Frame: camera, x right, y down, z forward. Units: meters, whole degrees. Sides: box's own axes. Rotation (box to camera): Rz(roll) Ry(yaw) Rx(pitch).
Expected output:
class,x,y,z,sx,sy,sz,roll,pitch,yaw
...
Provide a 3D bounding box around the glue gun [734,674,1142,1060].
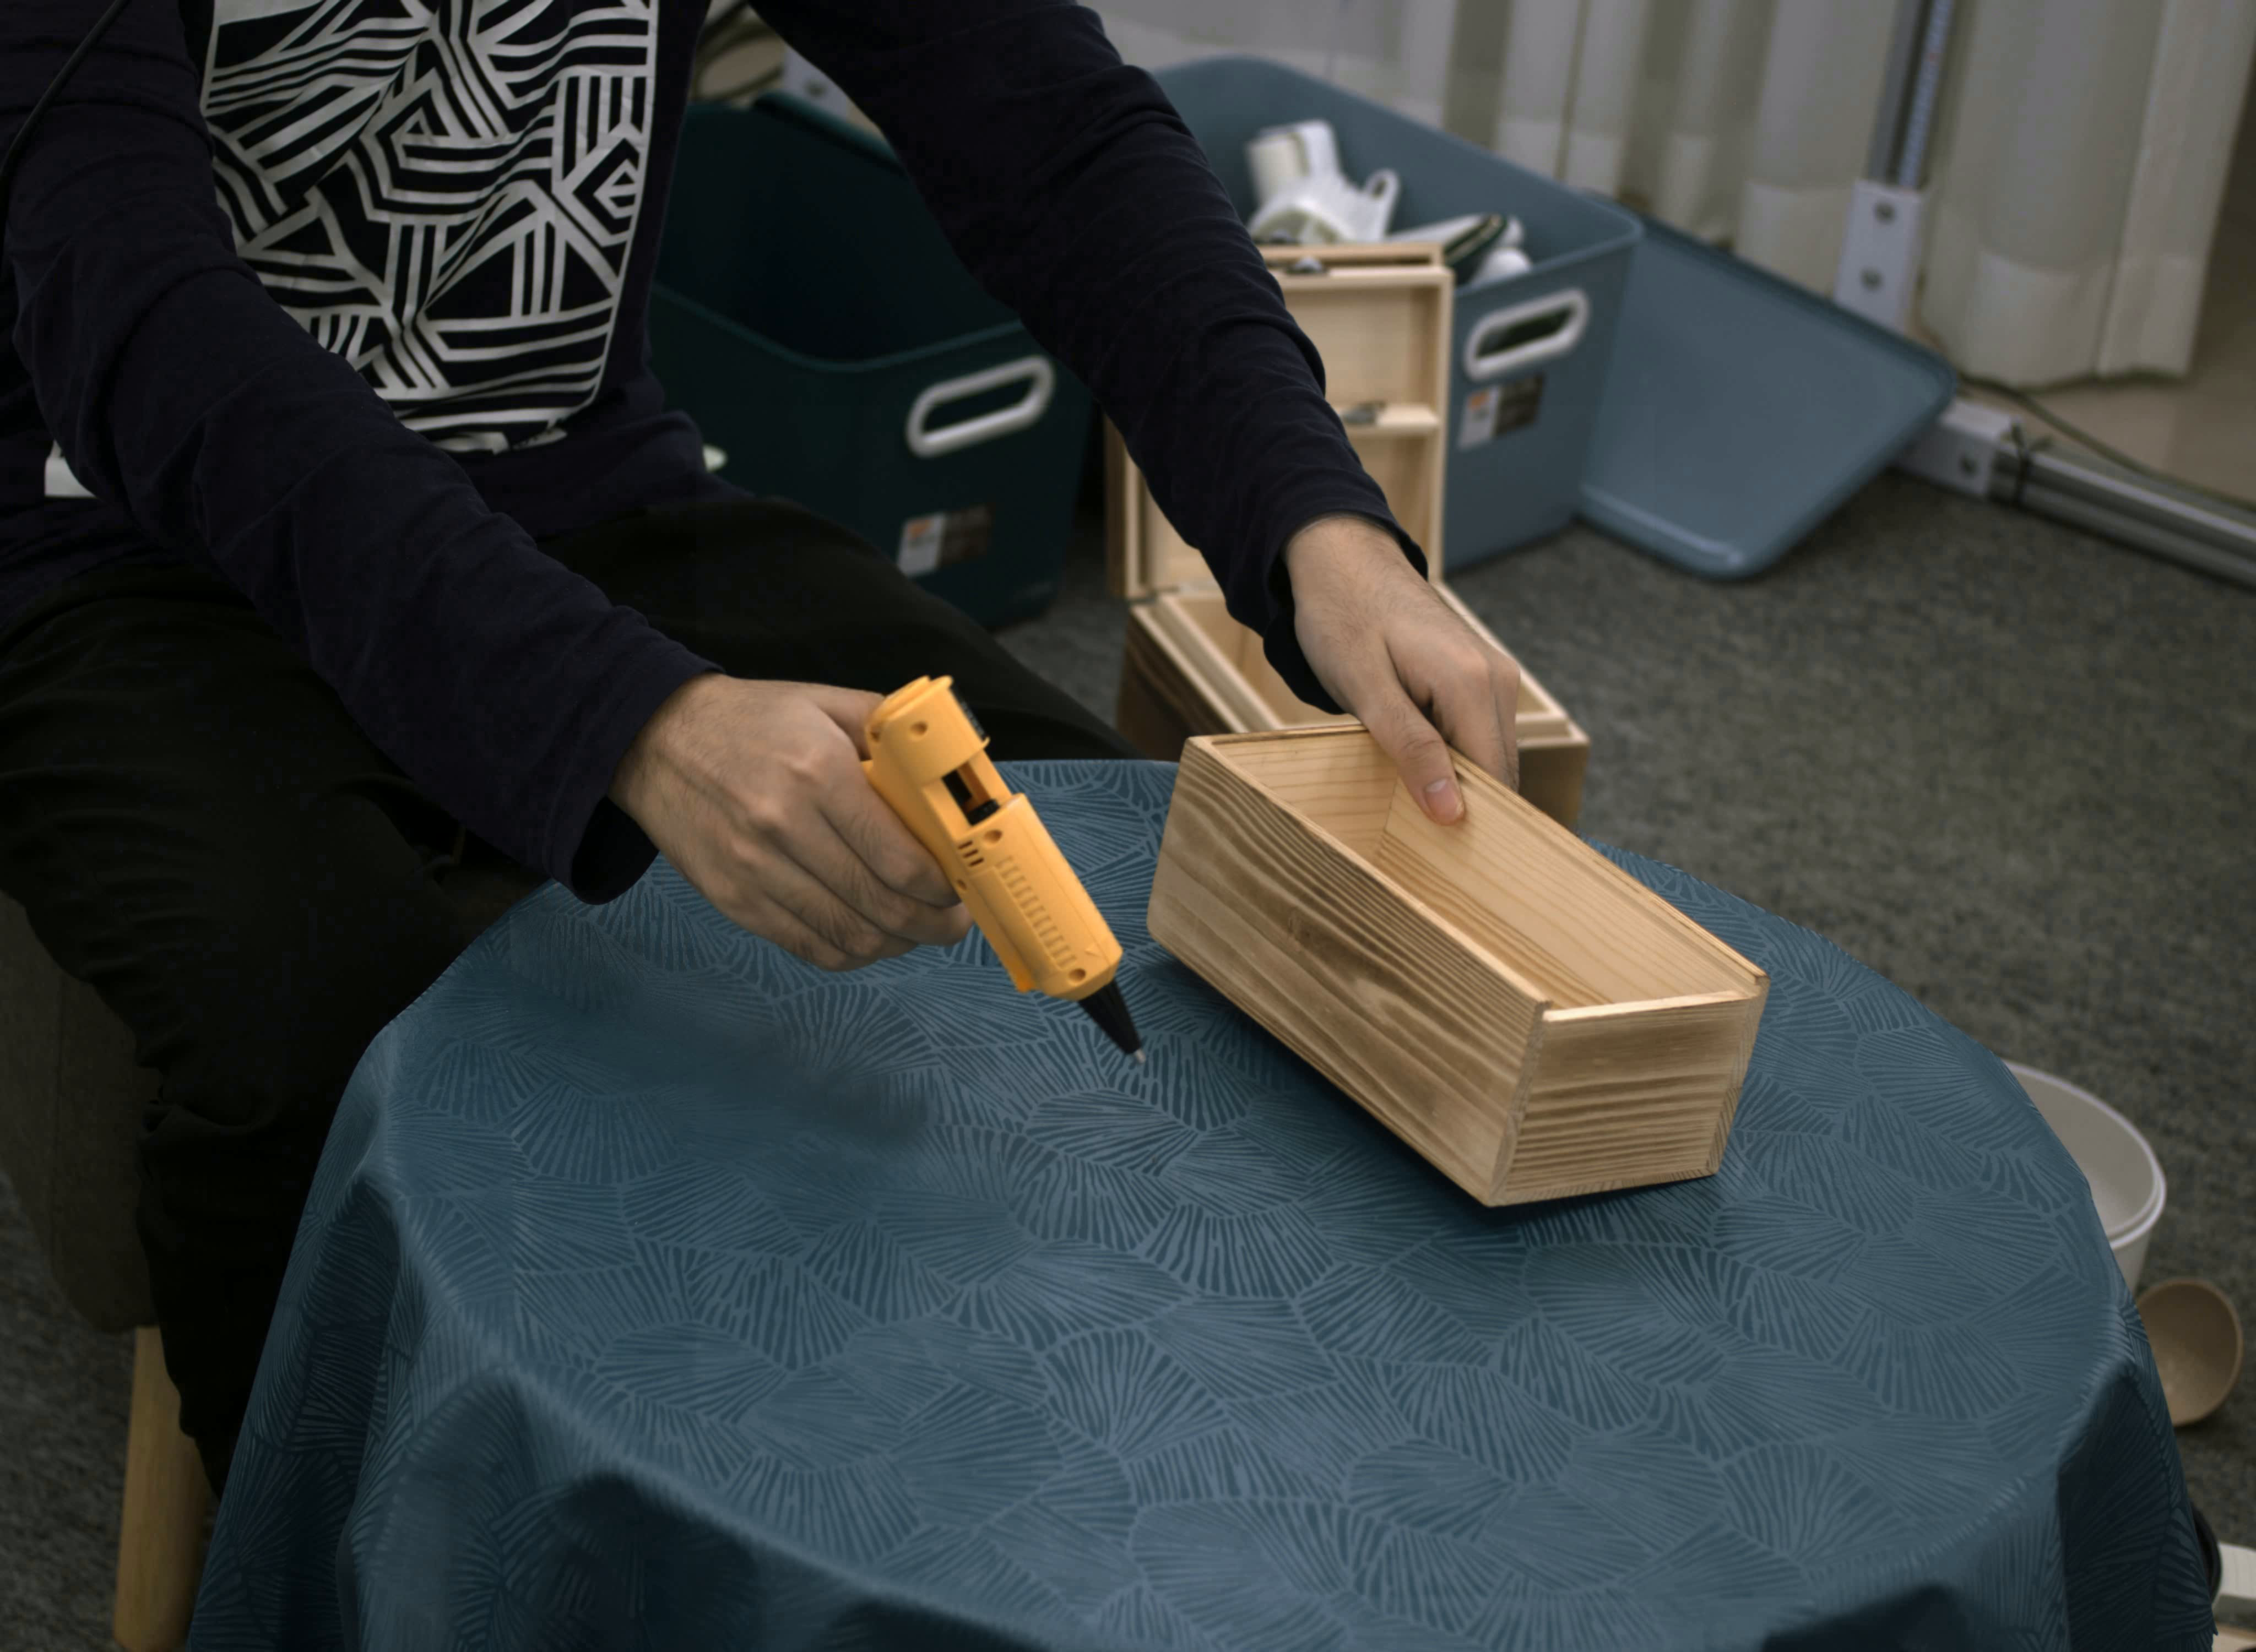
class,x,y,z,sx,sy,sz,roll,pitch,yaw
glue gun,-0.060,0.030,1.830,0.031,0.133,0.151,-38,94,-37

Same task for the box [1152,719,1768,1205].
class,x,y,z,sx,sy,sz,roll,pitch,yaw
box,0.114,0.044,1.892,0.107,0.080,0.213,-4,28,-35
